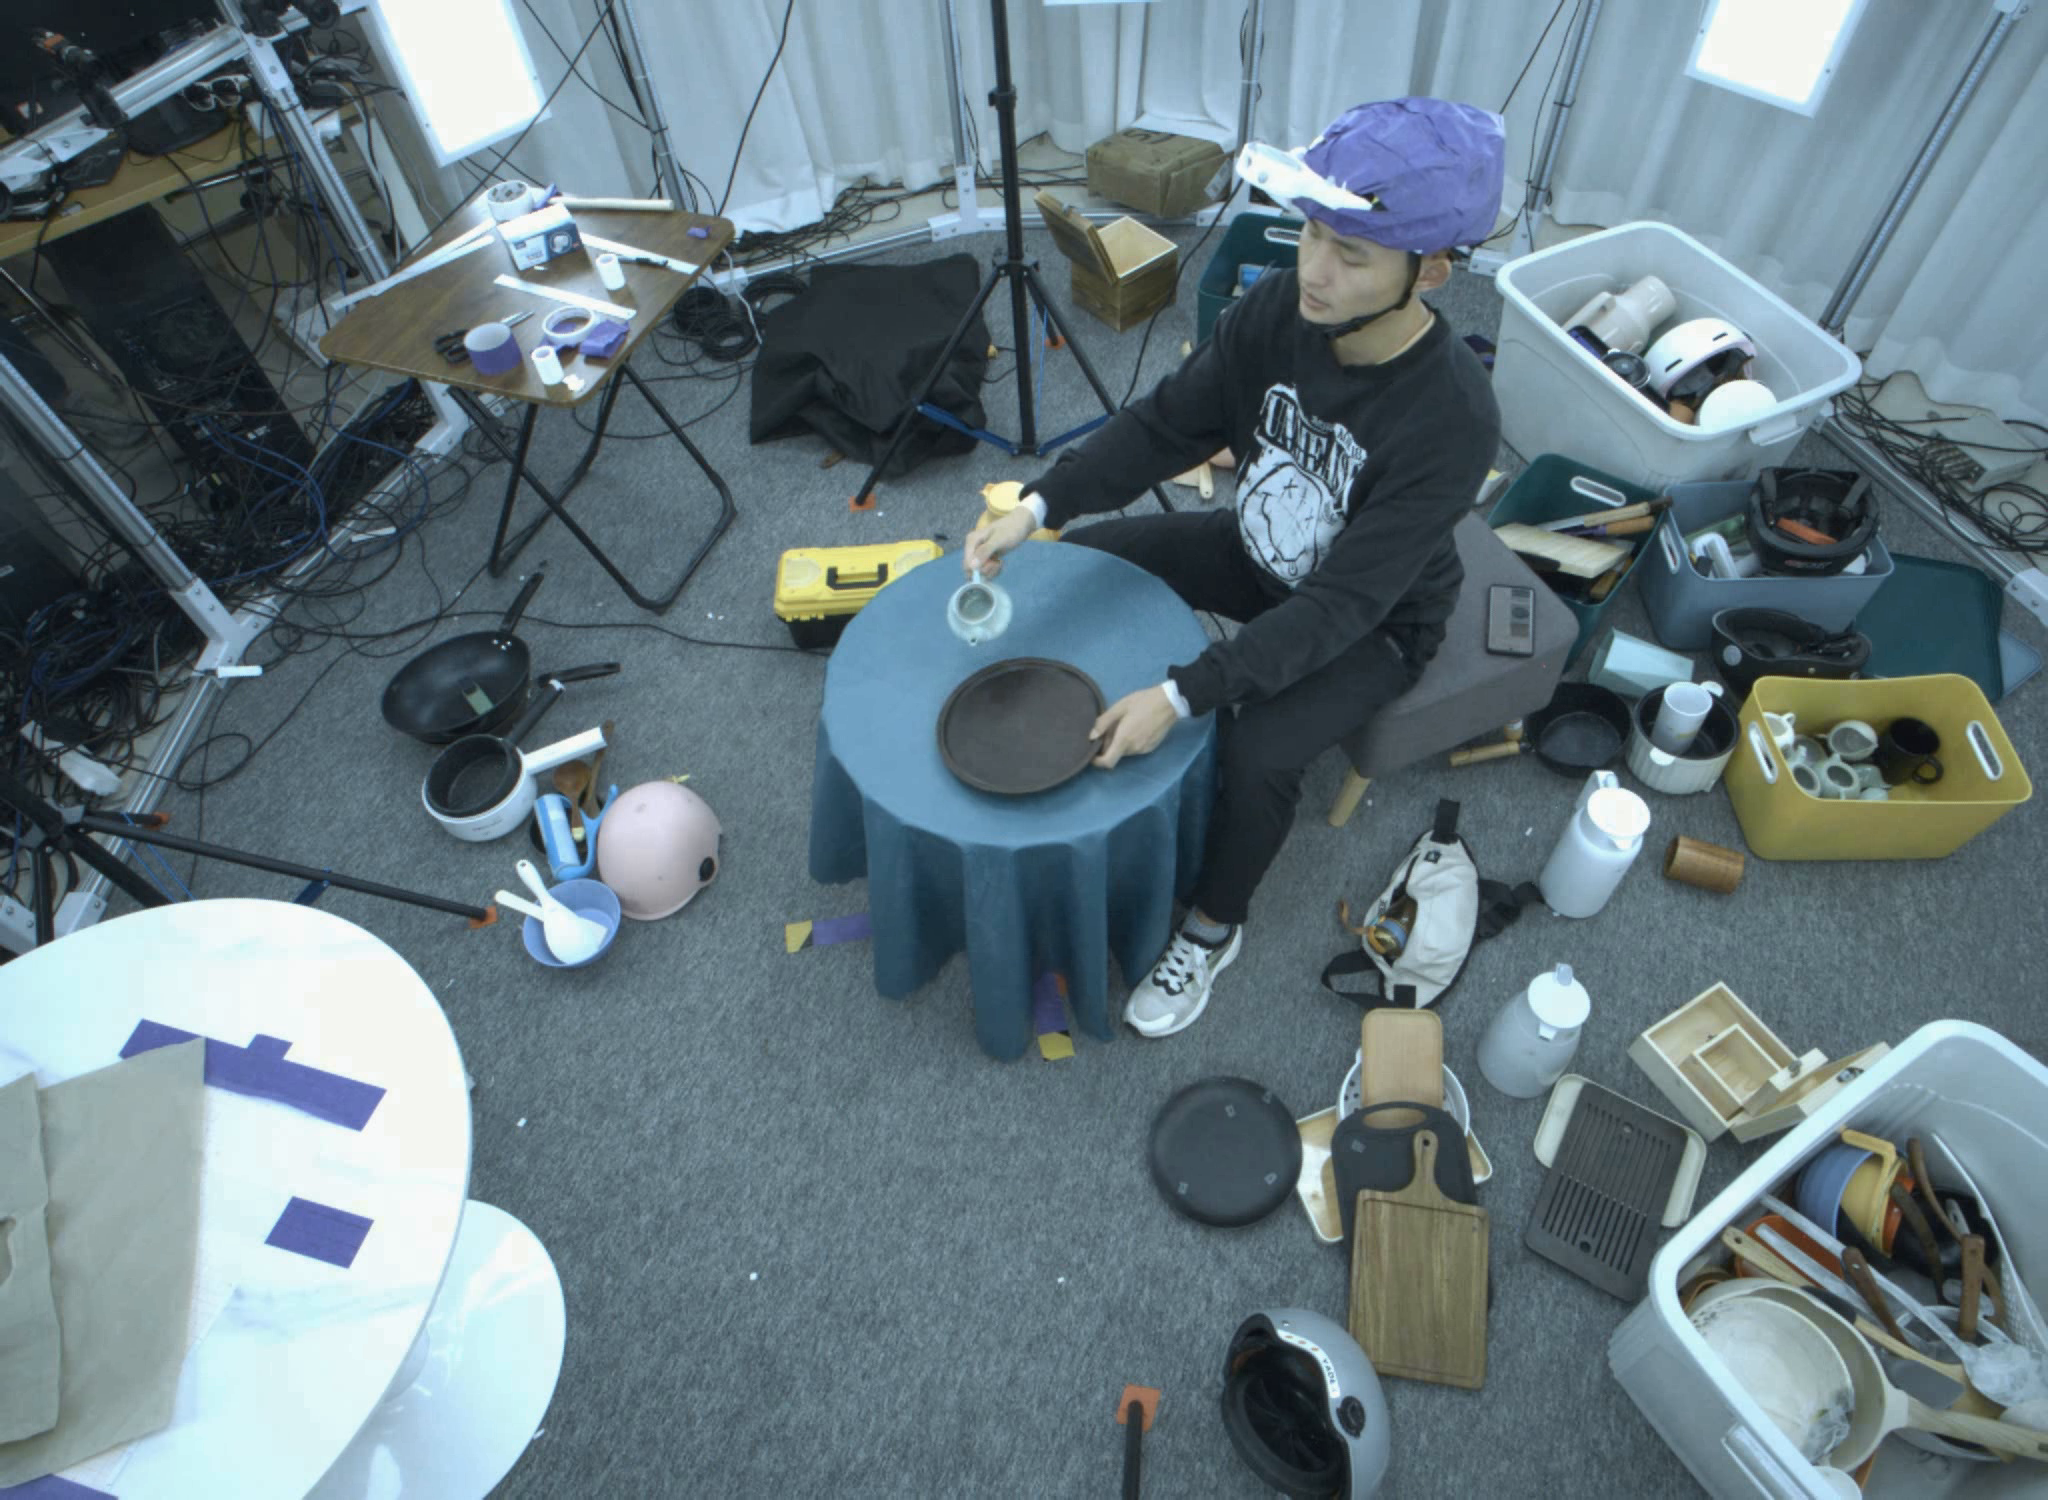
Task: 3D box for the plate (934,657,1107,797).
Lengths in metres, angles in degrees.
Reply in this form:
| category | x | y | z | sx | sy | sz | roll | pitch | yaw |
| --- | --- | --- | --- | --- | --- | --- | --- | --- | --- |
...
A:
| category | x | y | z | sx | sy | sz | roll | pitch | yaw |
| --- | --- | --- | --- | --- | --- | --- | --- | --- | --- |
| plate | -0.004 | -0.035 | 1.782 | 0.254 | 0.029 | 0.252 | -4 | 53 | 7 |

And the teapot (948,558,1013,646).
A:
| category | x | y | z | sx | sy | sz | roll | pitch | yaw |
| --- | --- | --- | --- | --- | --- | --- | --- | --- | --- |
| teapot | -0.066 | -0.208 | 1.765 | 0.095 | 0.062 | 0.136 | -3 | 79 | 8 |
